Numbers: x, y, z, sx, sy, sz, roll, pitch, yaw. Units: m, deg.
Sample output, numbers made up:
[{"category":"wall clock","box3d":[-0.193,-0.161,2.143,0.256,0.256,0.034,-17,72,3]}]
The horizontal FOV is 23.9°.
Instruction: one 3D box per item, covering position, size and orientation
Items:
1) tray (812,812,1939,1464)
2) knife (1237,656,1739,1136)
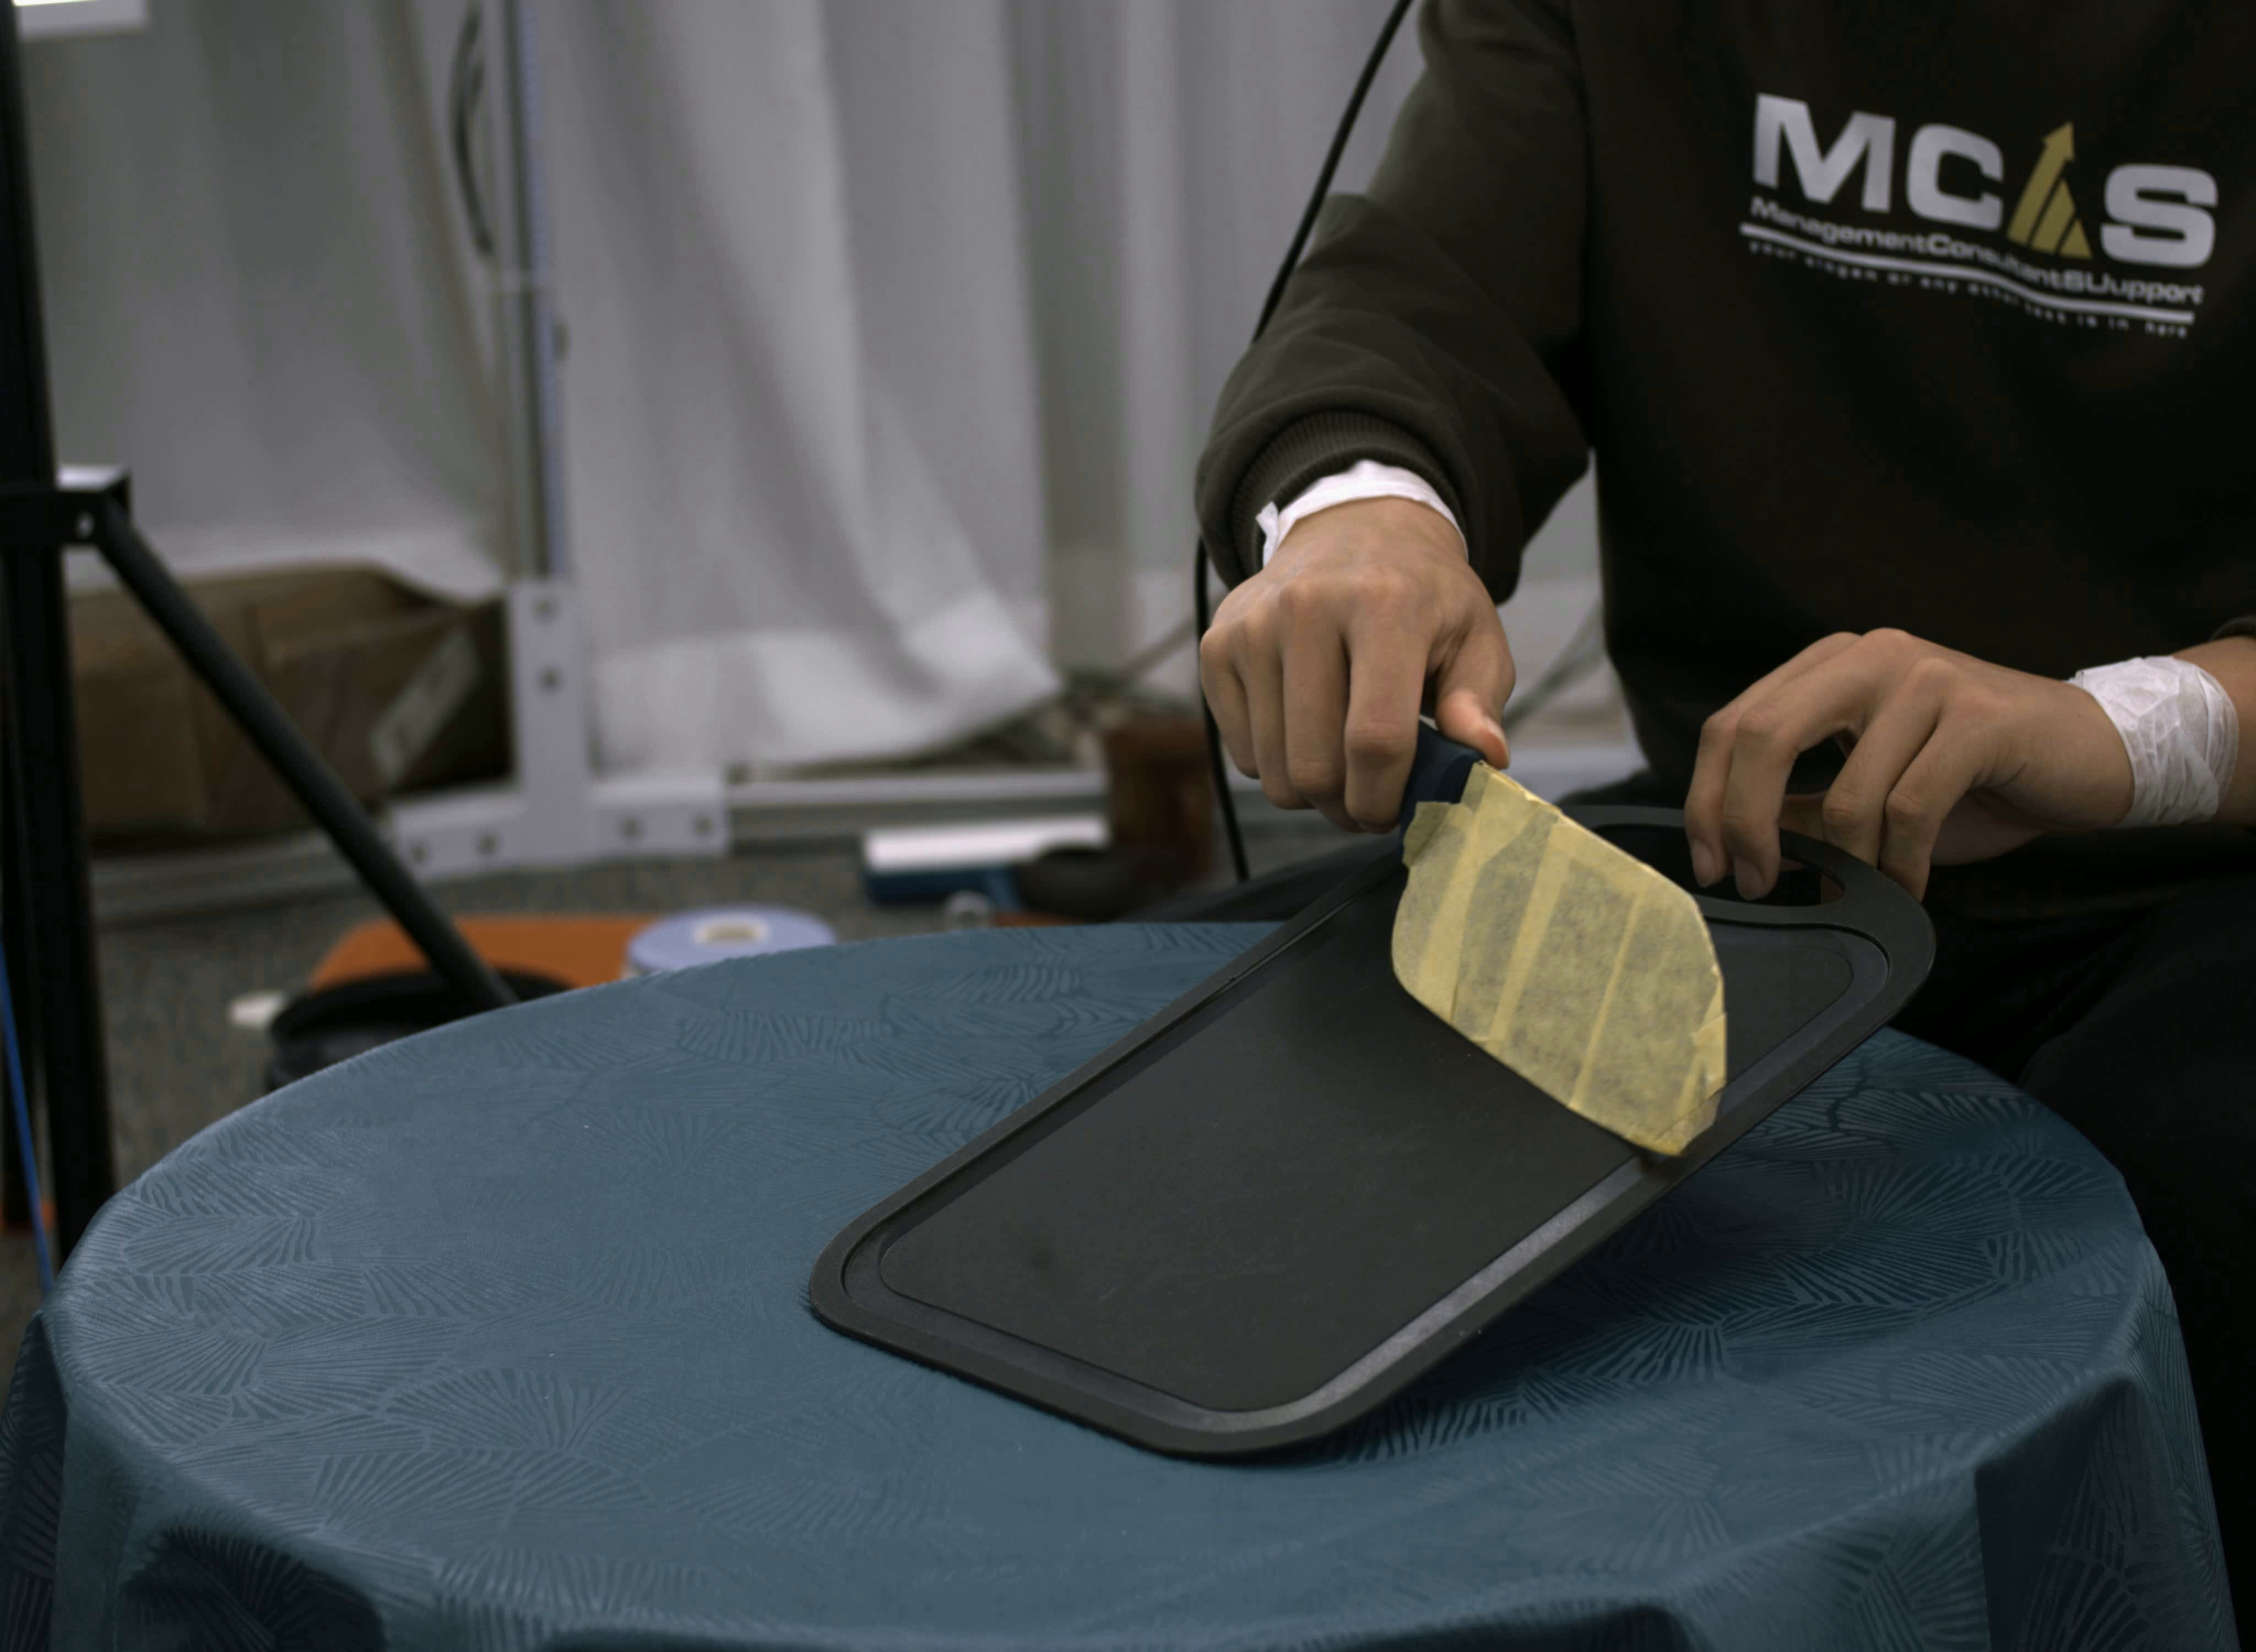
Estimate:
[{"category":"tray","box3d":[0.076,0.075,1.498,0.320,0.010,0.216,-33,31,-32]},{"category":"knife","box3d":[0.100,0.015,1.531,0.026,0.081,0.295,12,16,-30]}]
